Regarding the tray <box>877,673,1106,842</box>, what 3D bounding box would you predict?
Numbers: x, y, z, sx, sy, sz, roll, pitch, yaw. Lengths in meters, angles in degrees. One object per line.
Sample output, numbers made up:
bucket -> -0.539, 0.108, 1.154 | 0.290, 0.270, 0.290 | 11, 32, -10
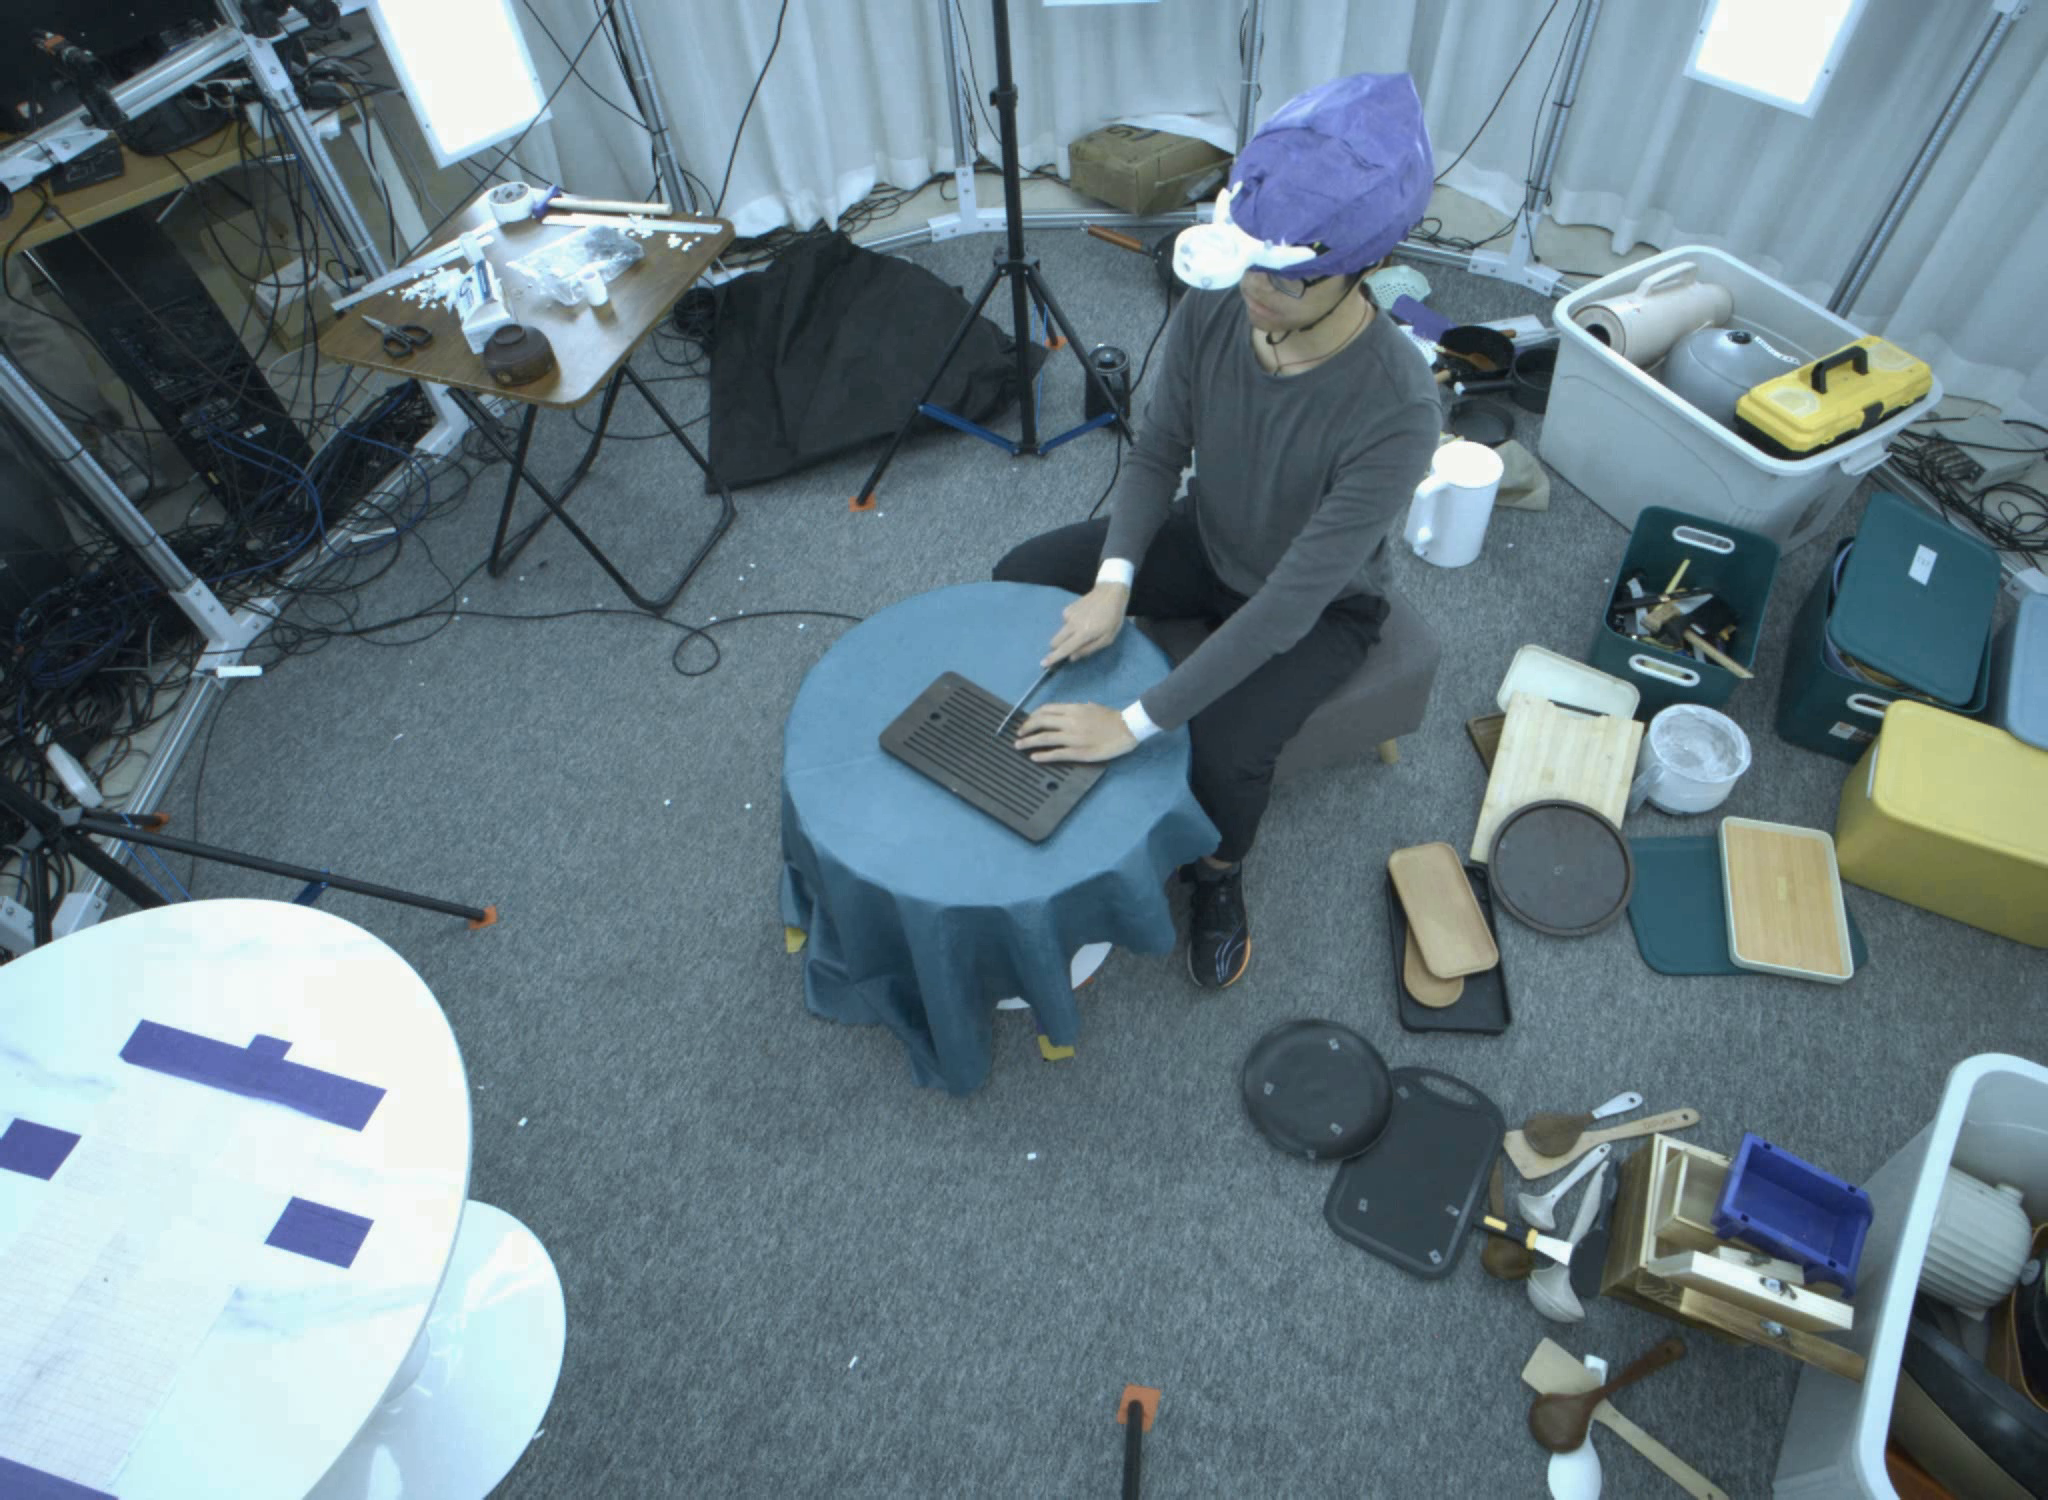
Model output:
tray -> -0.048, 0.007, 1.780 | 0.301, 0.019, 0.171 | 31, 60, 21

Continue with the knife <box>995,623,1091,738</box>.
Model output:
knife -> 0.028, -0.106, 1.828 | 0.016, 0.024, 0.239 | 34, 68, 14
